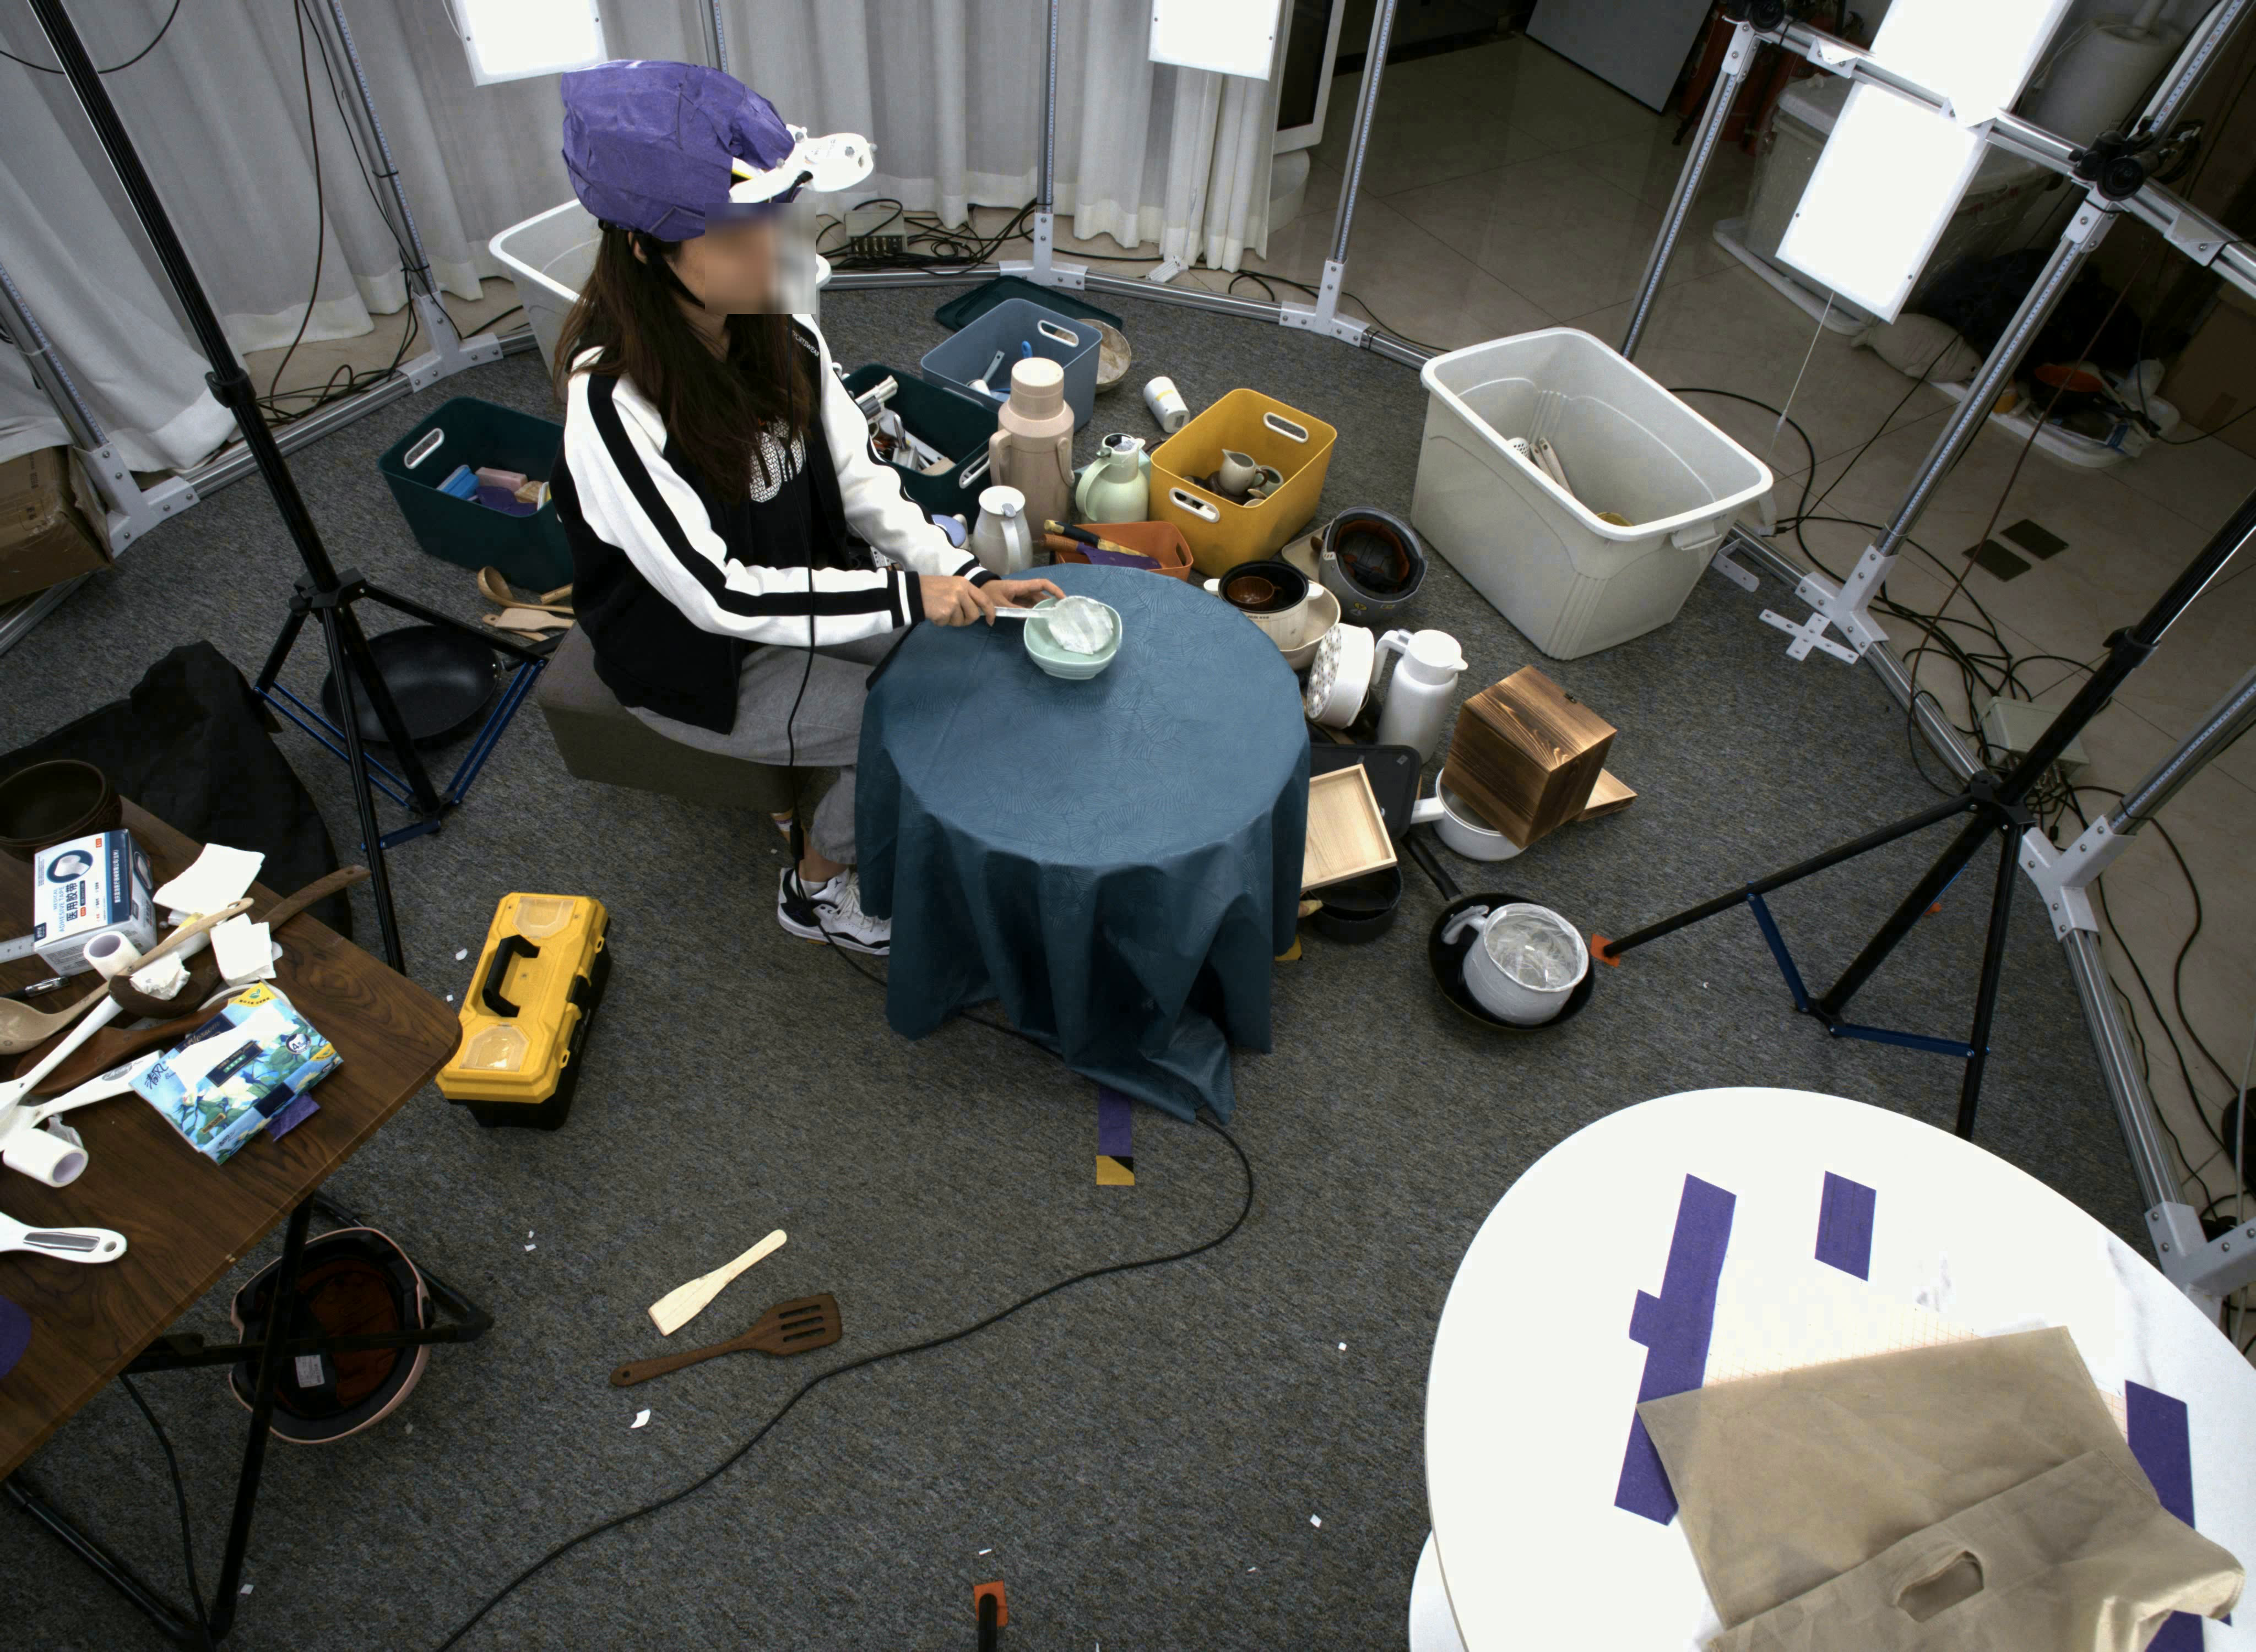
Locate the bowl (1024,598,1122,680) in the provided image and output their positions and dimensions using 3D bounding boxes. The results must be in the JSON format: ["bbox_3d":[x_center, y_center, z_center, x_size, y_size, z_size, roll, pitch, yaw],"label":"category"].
[{"bbox_3d":[-0.080,-0.261,1.857,0.151,0.057,0.155,2,50,-3],"label":"bowl"}]

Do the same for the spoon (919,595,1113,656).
[{"bbox_3d":[-0.151,-0.290,1.794,0.276,0.099,0.061,0,40,-31],"label":"spoon"}]
